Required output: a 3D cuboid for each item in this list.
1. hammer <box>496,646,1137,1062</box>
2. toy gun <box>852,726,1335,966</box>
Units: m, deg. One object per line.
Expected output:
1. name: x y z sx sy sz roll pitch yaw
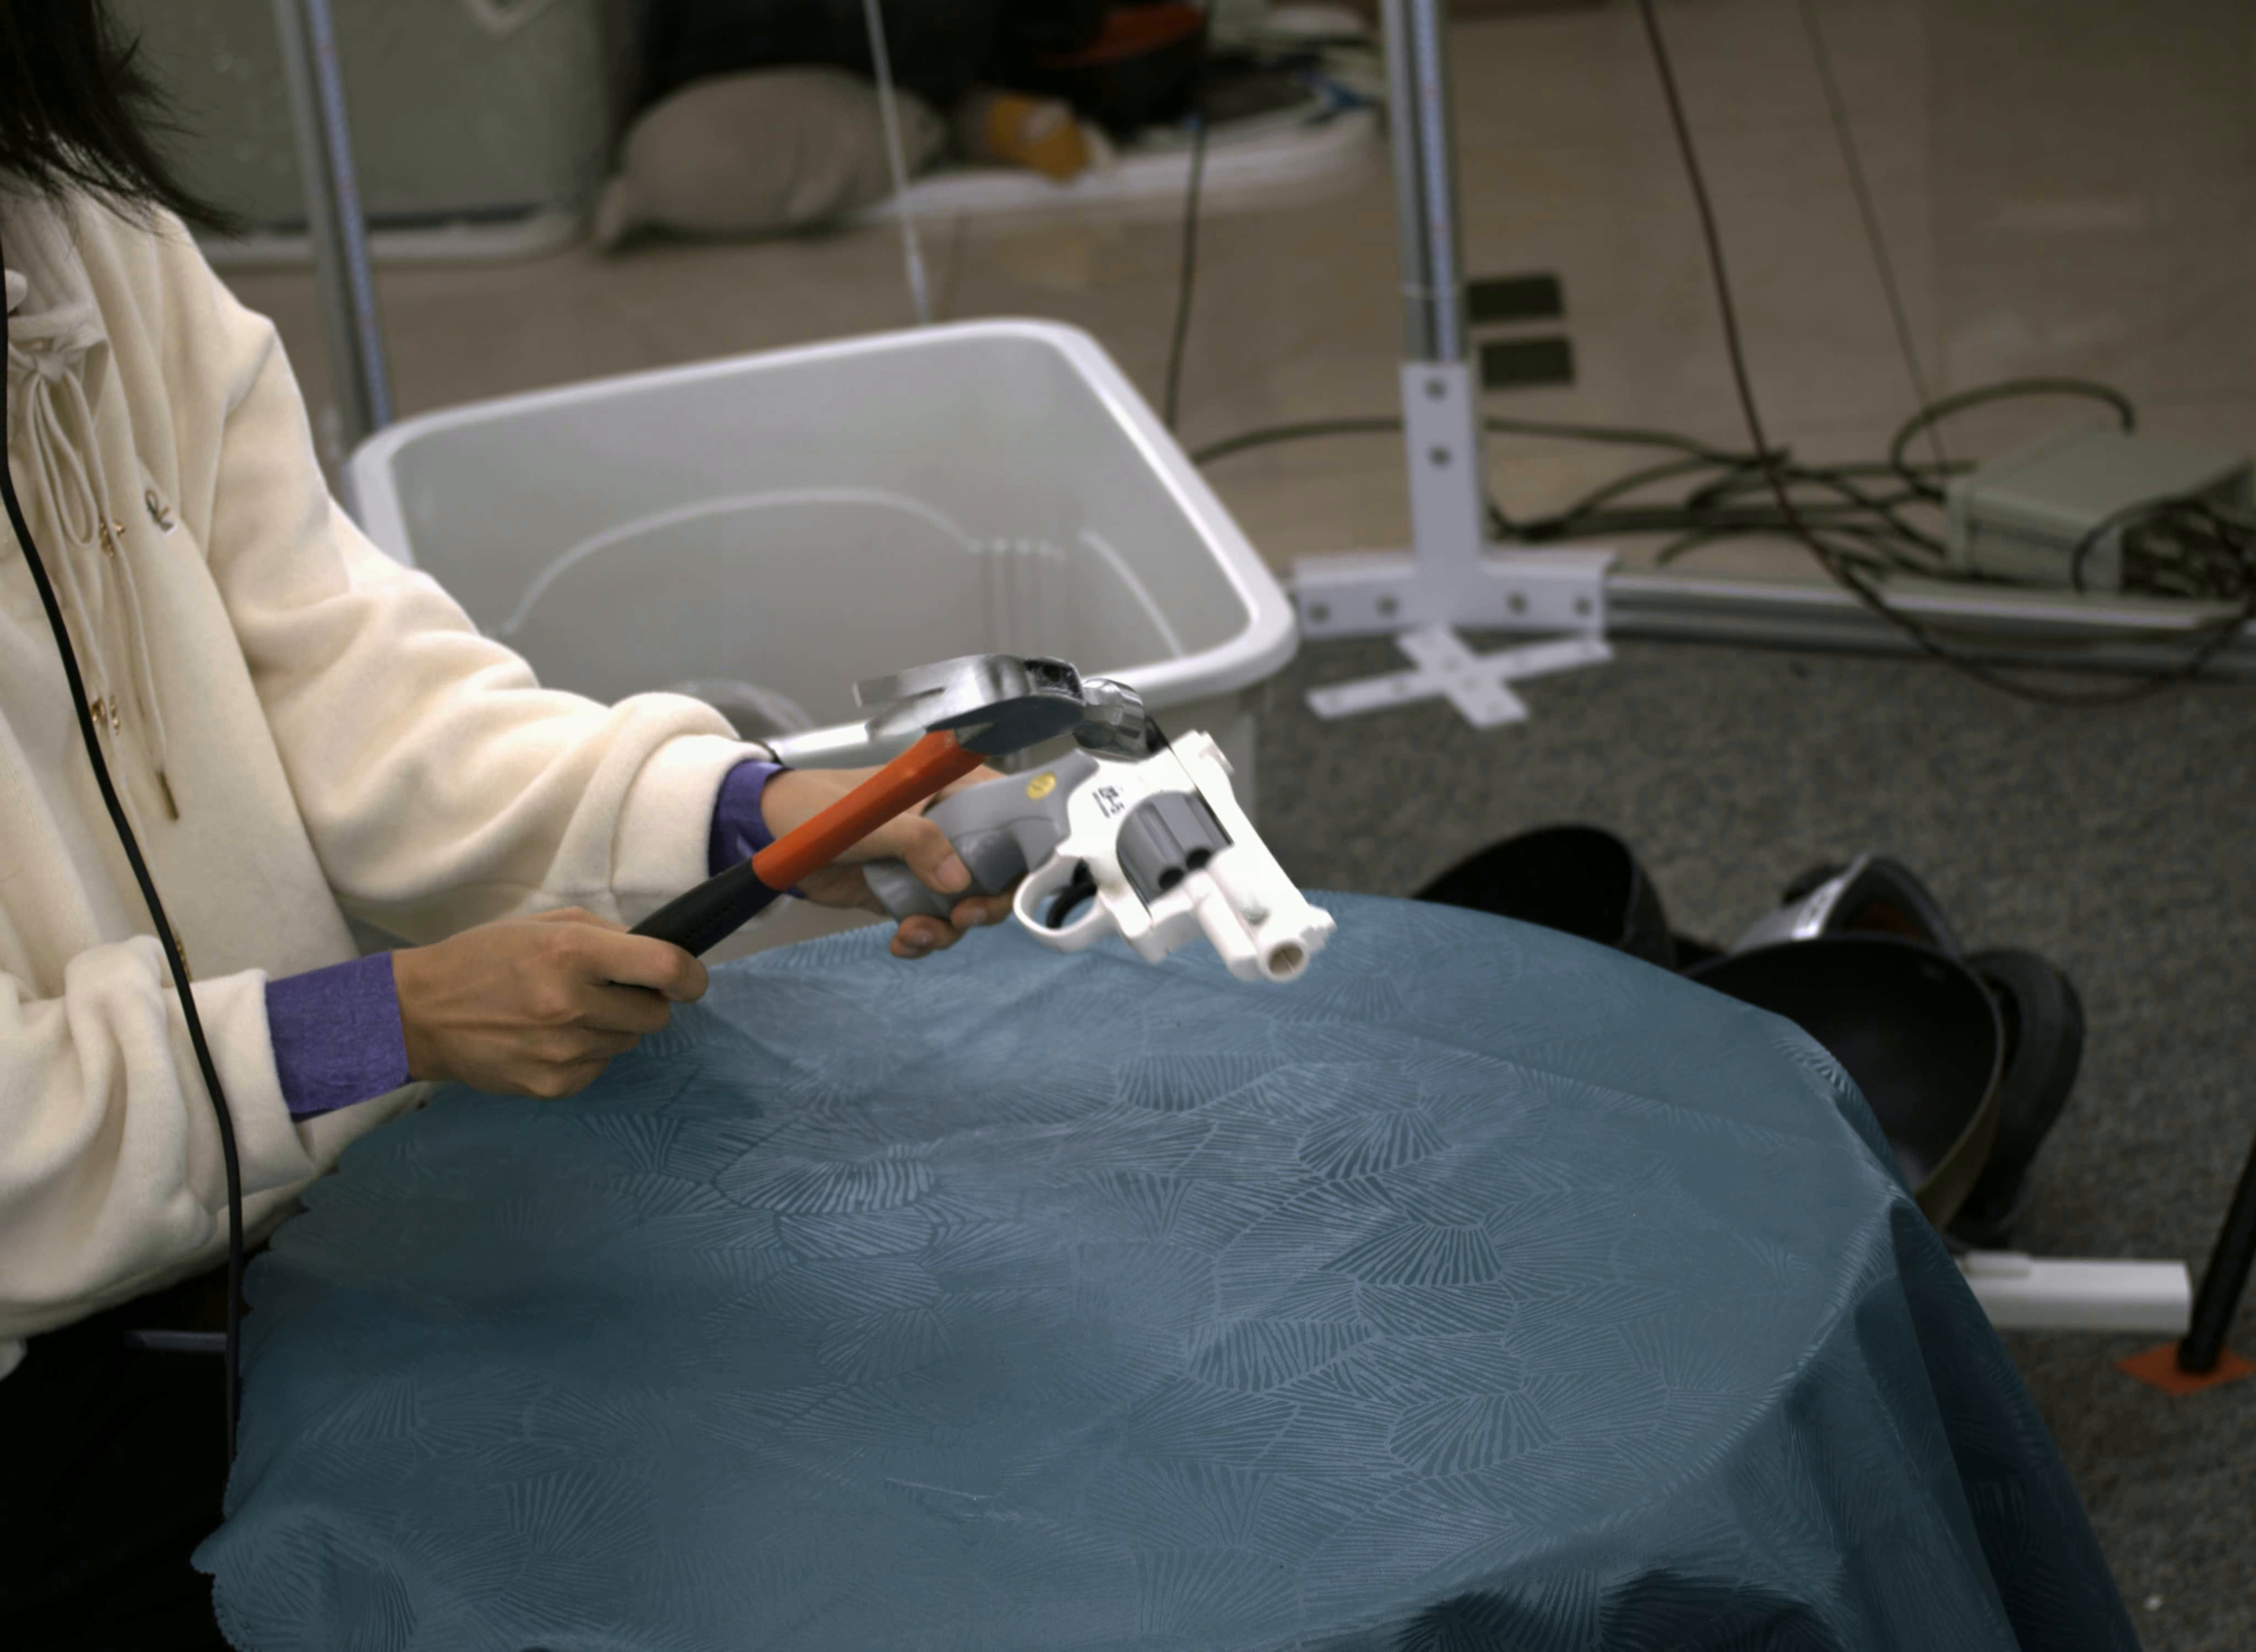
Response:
1. hammer: -0.128 0.011 2.058 0.279 0.026 0.111 -34 -19 29
2. toy gun: -0.016 0.020 2.125 0.141 0.039 0.206 -36 36 0
